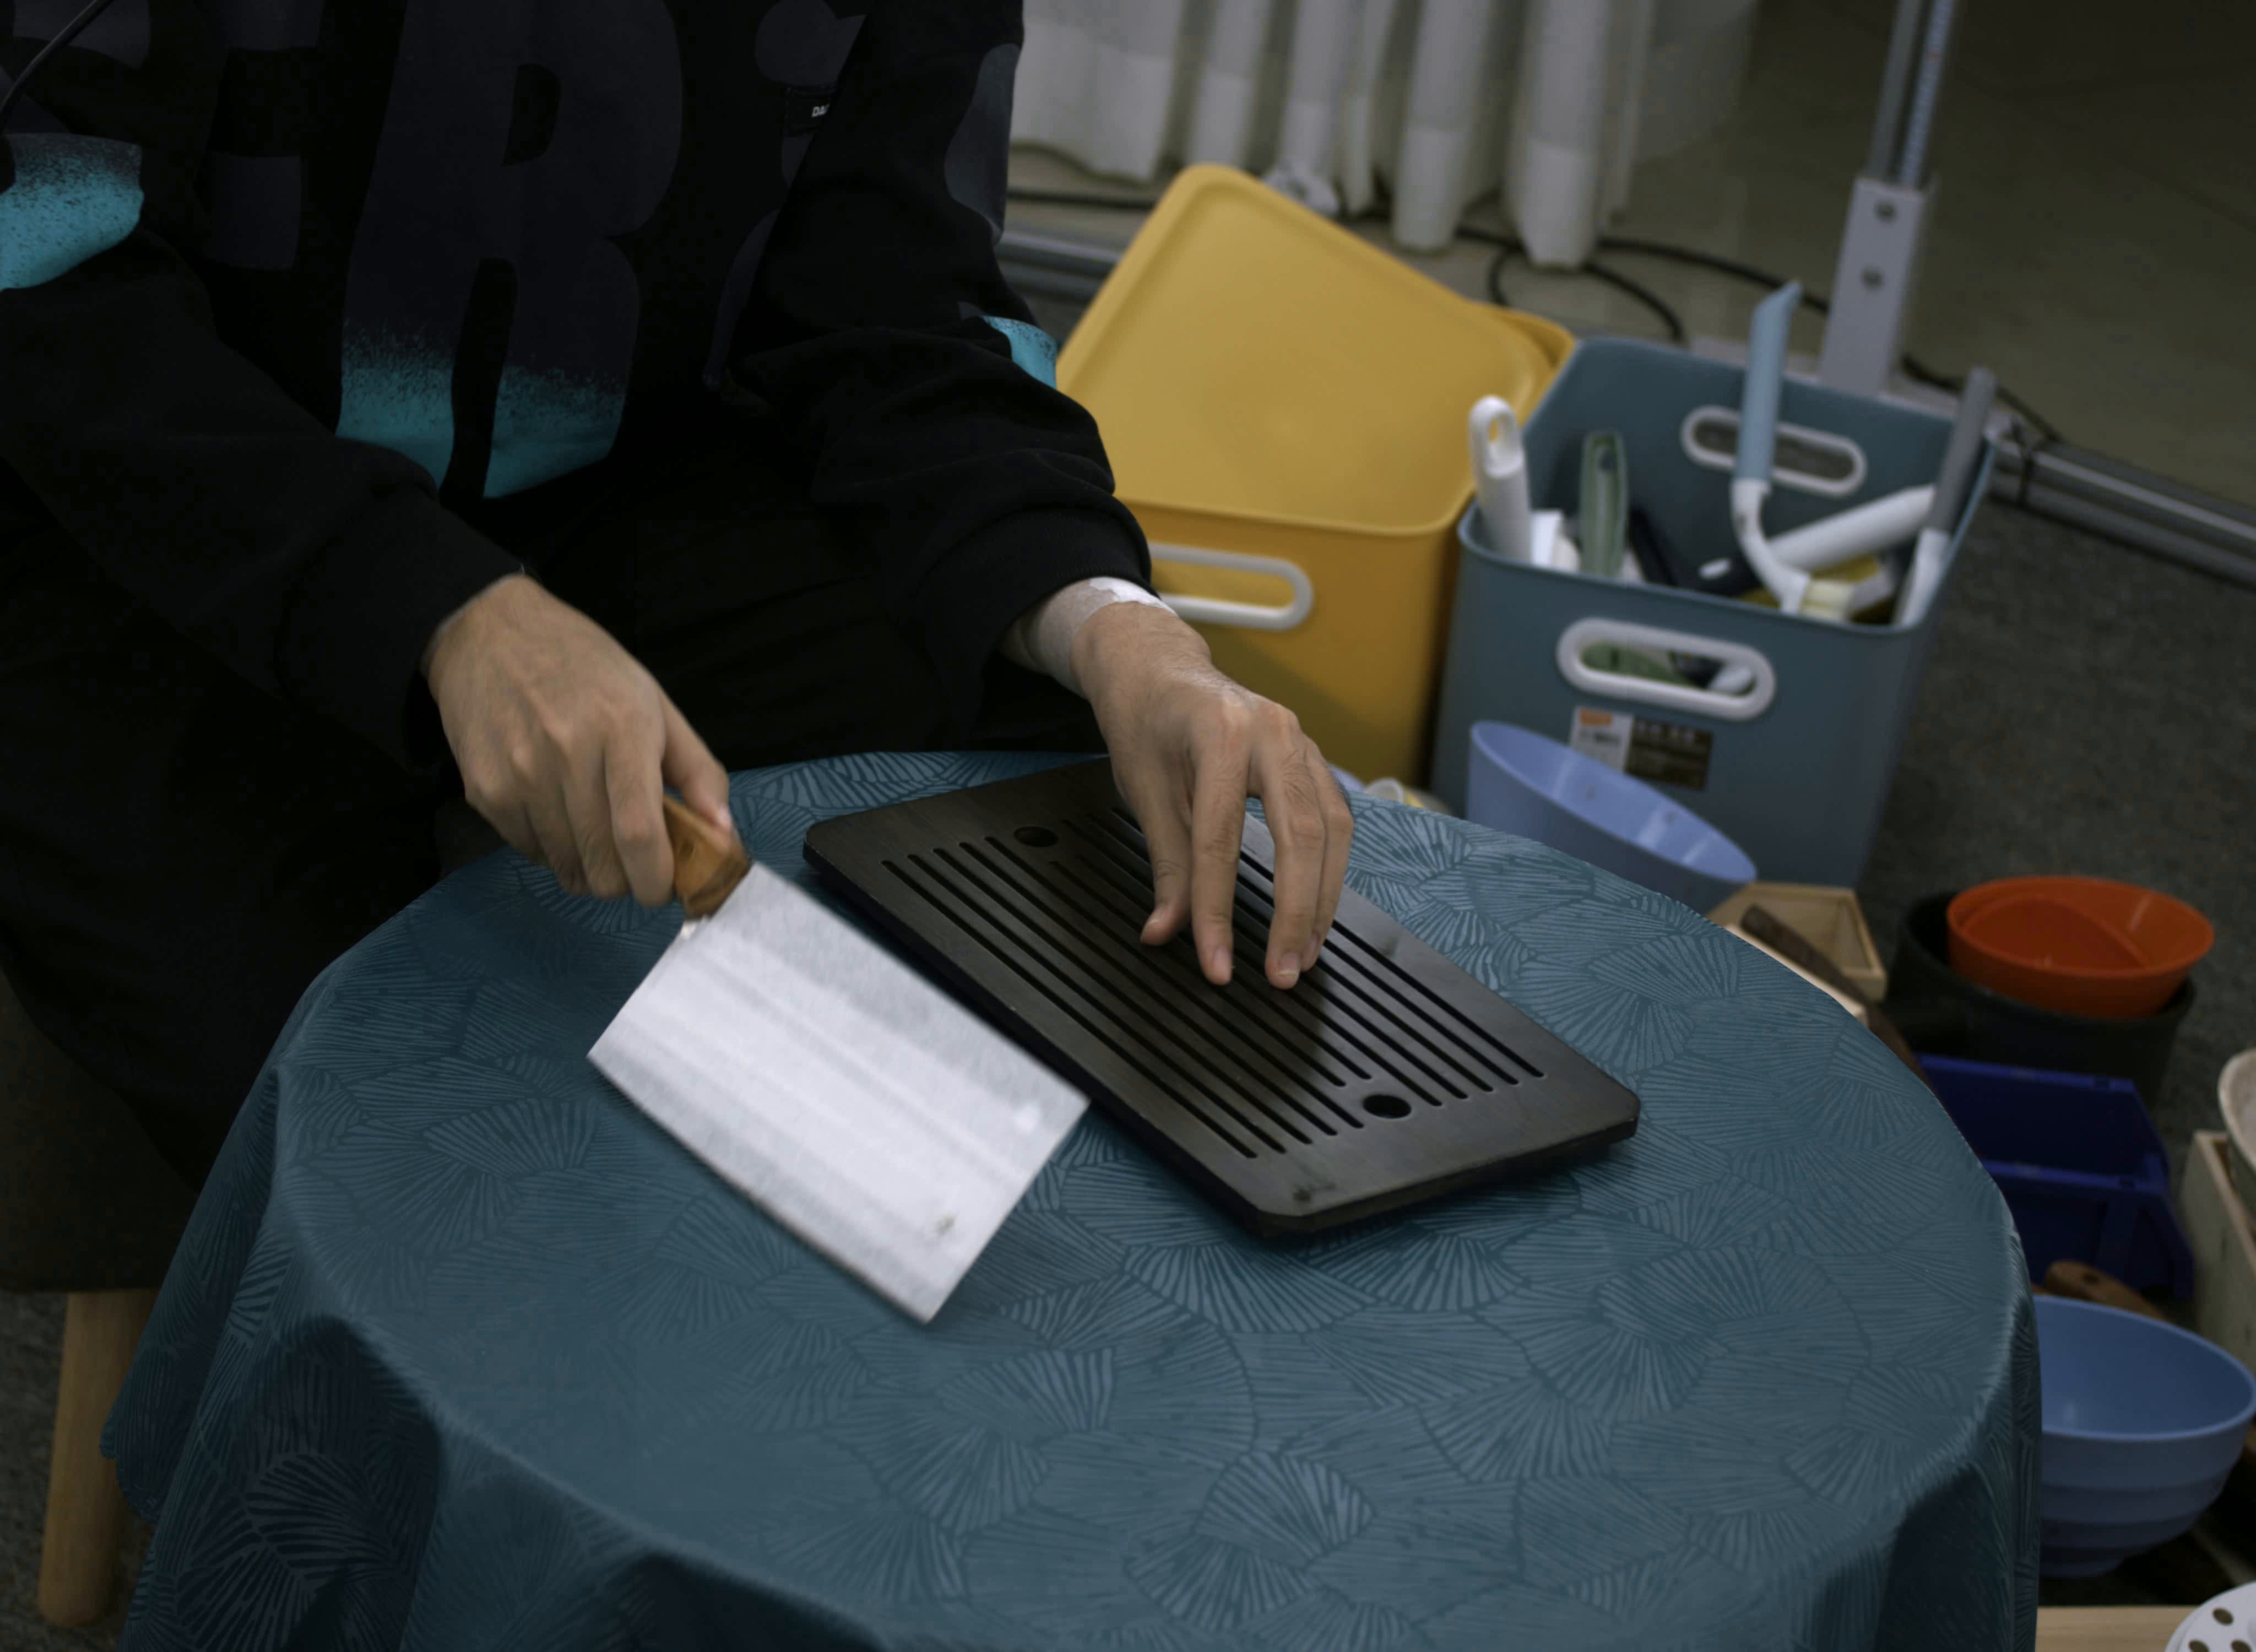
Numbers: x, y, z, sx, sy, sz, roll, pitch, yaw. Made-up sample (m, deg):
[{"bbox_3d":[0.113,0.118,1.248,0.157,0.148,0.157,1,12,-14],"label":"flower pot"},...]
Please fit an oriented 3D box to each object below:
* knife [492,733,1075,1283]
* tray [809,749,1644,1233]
[{"bbox_3d":[-0.136,0.062,1.806,0.308,0.093,0.021,34,-6,41],"label":"knife"},{"bbox_3d":[0.030,0.056,1.921,0.169,0.018,0.308,-13,33,-33],"label":"tray"}]
